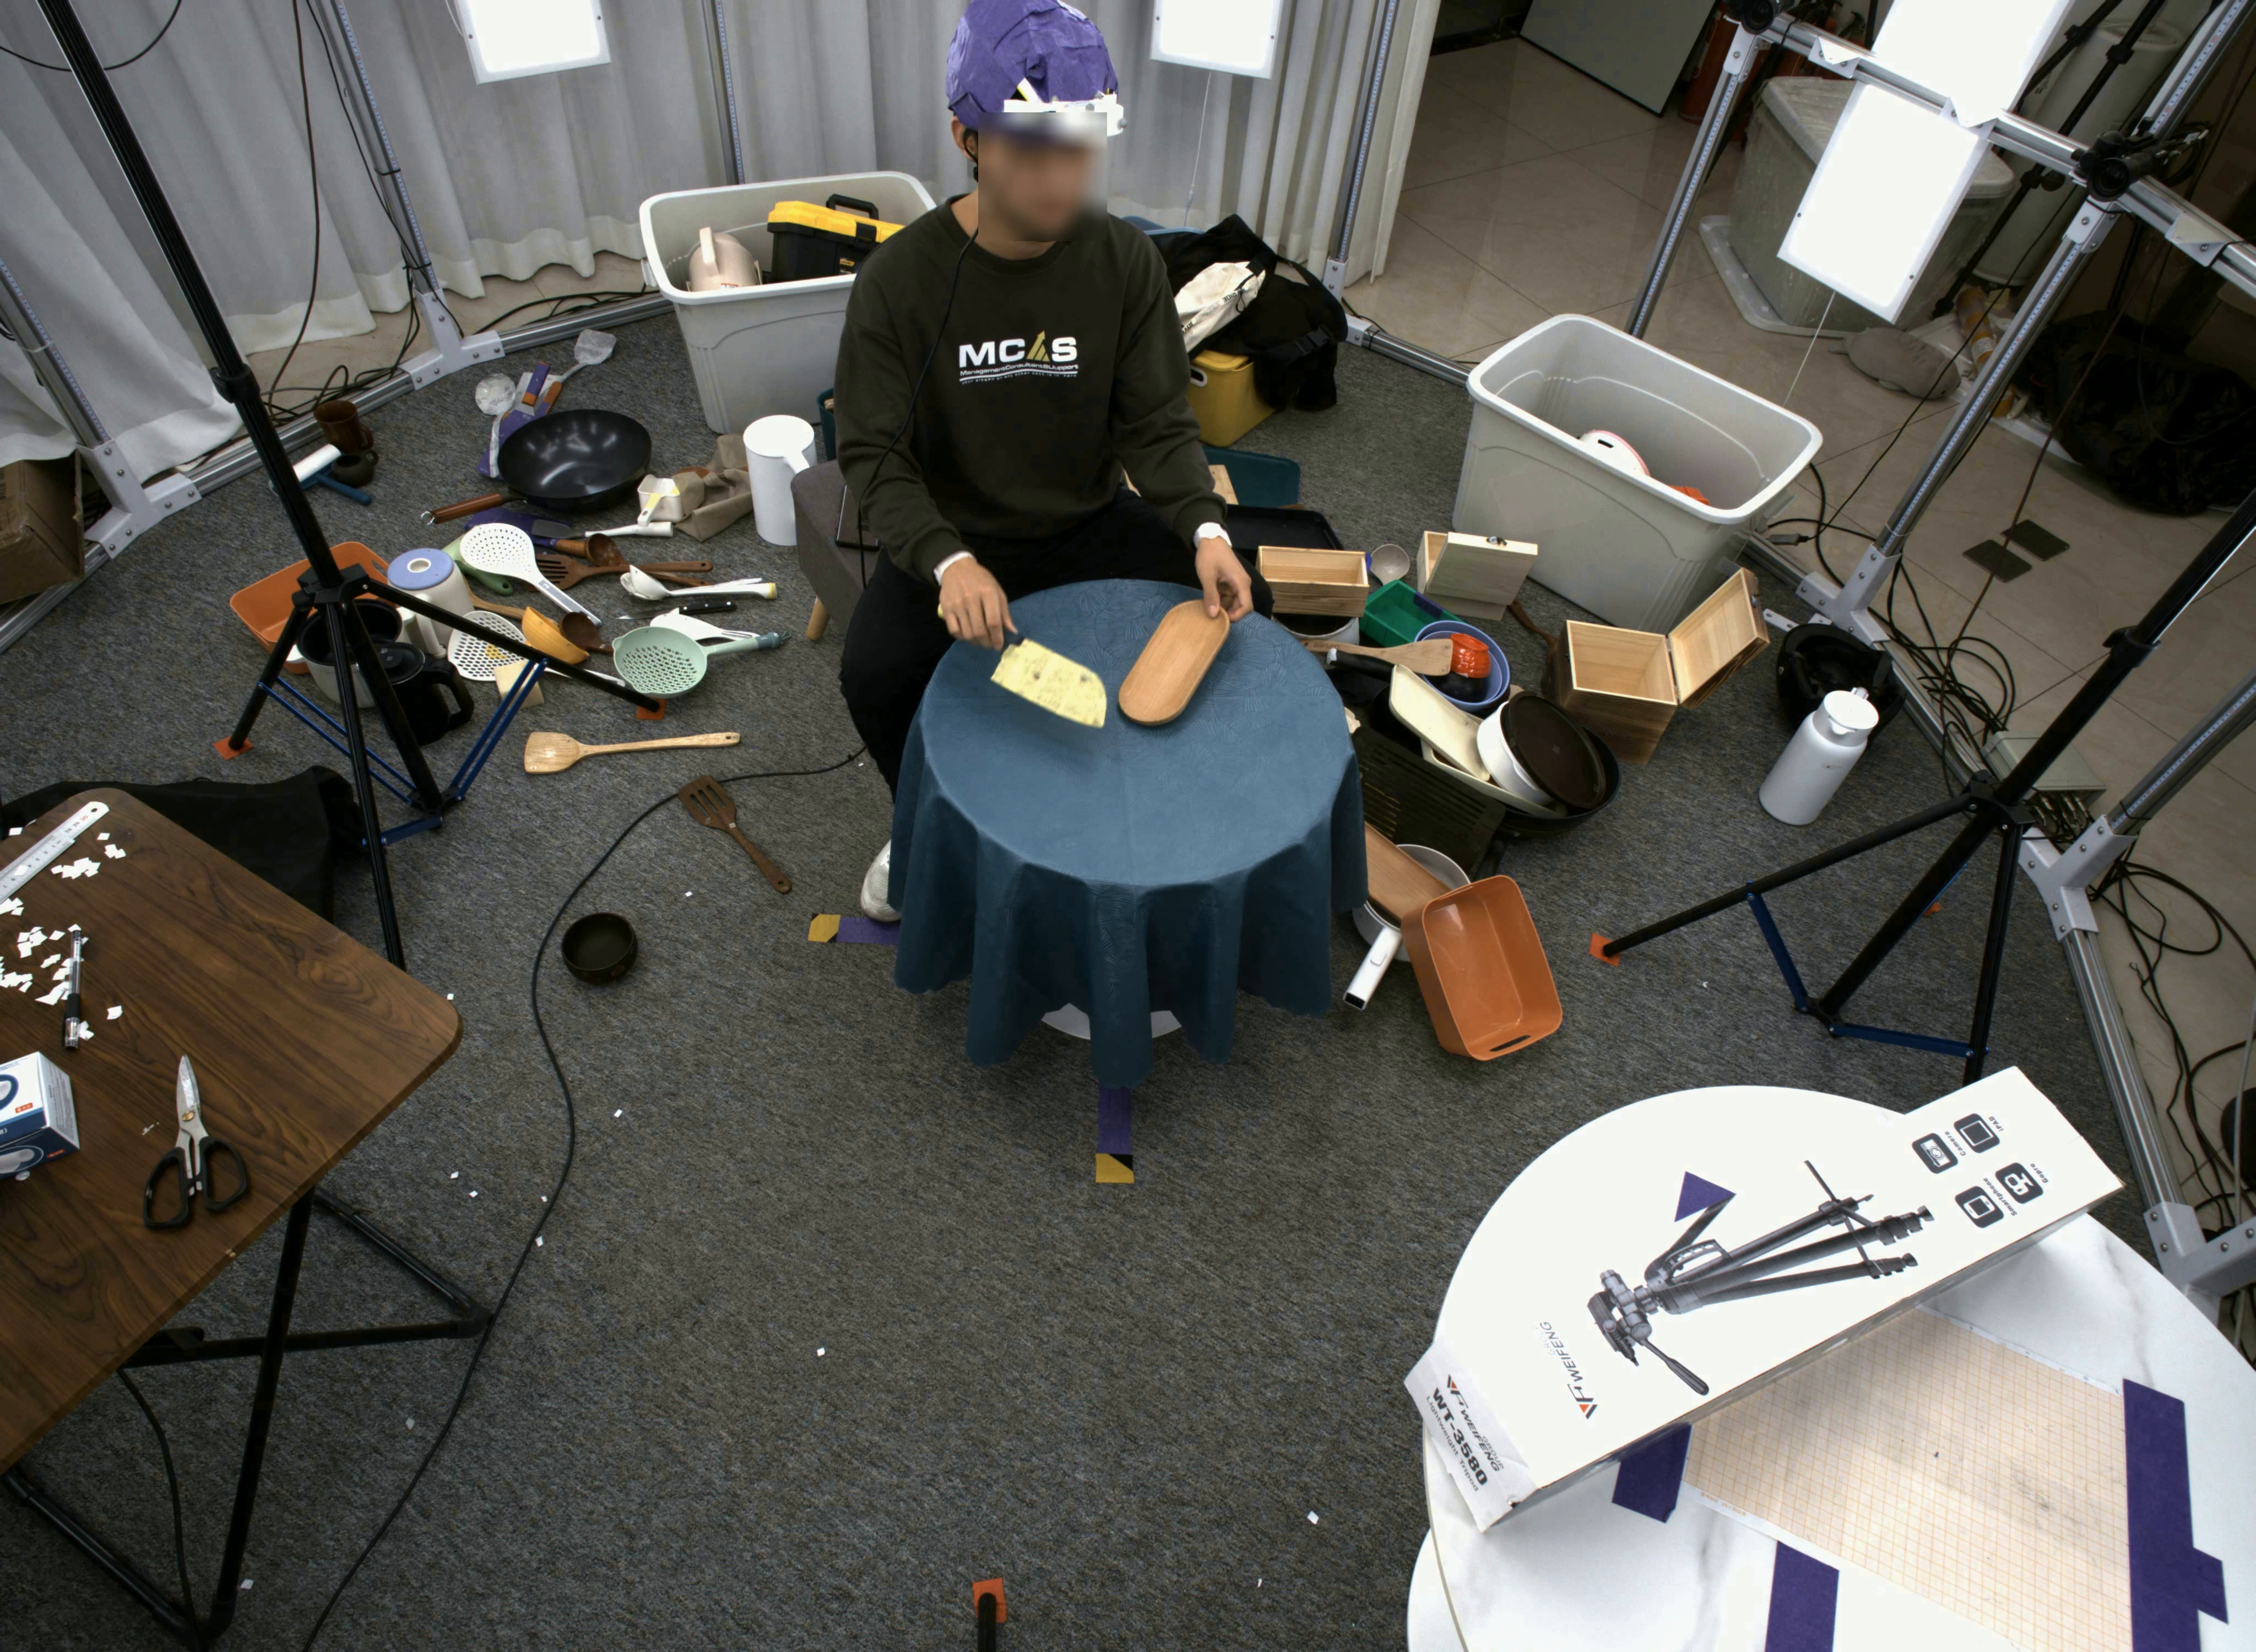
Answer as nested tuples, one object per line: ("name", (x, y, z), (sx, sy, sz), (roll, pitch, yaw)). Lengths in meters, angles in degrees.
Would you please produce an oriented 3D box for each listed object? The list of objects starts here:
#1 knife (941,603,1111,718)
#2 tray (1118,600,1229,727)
("knife", (-0.144, -0.227, 1.755), (0.292, 0.027, 0.081), (31, 85, 18))
("tray", (0.067, -0.233, 1.831), (0.102, 0.020, 0.234), (17, 63, 25))
